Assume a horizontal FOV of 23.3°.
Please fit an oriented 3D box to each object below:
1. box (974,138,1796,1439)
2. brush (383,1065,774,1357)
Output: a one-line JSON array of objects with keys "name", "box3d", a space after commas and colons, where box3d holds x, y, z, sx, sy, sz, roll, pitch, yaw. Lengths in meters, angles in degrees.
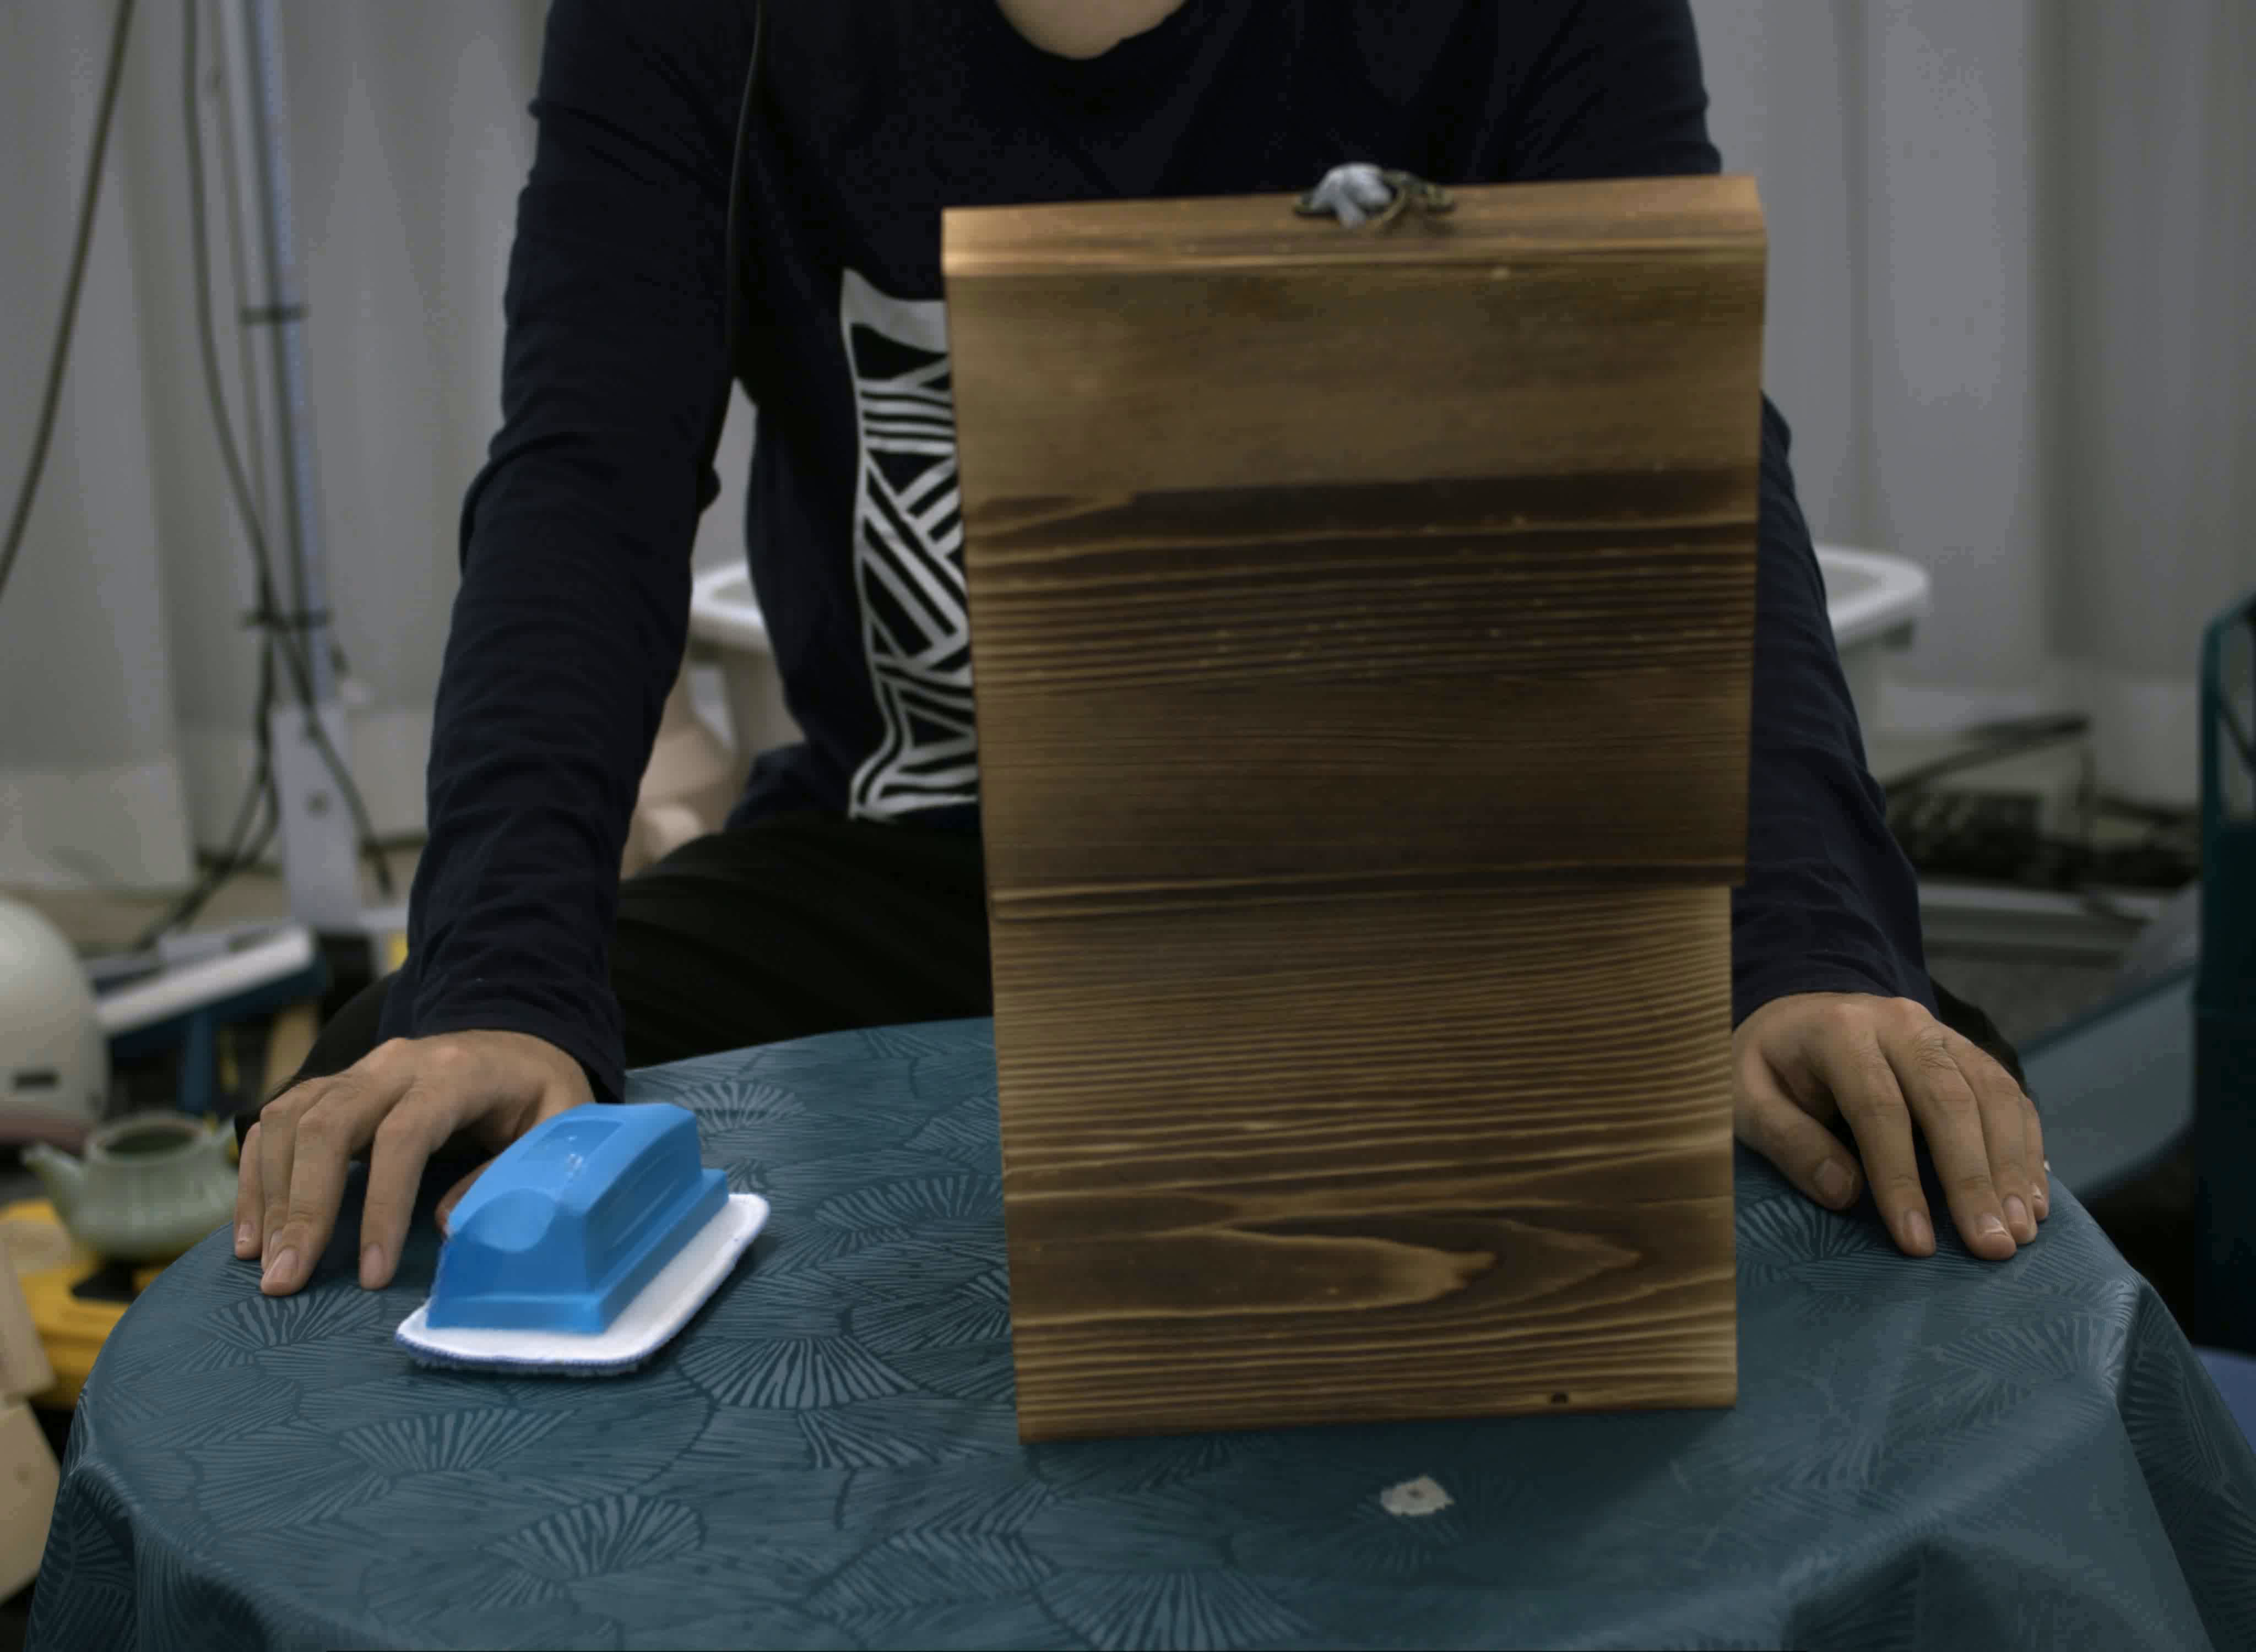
[{"name": "box", "box3d": [0.062, -0.021, 1.514, 0.208, 0.374, 0.324, -3, 14, -1]}, {"name": "brush", "box3d": [-0.163, 0.112, 1.641, 0.084, 0.055, 0.144, 4, 18, 15]}]
